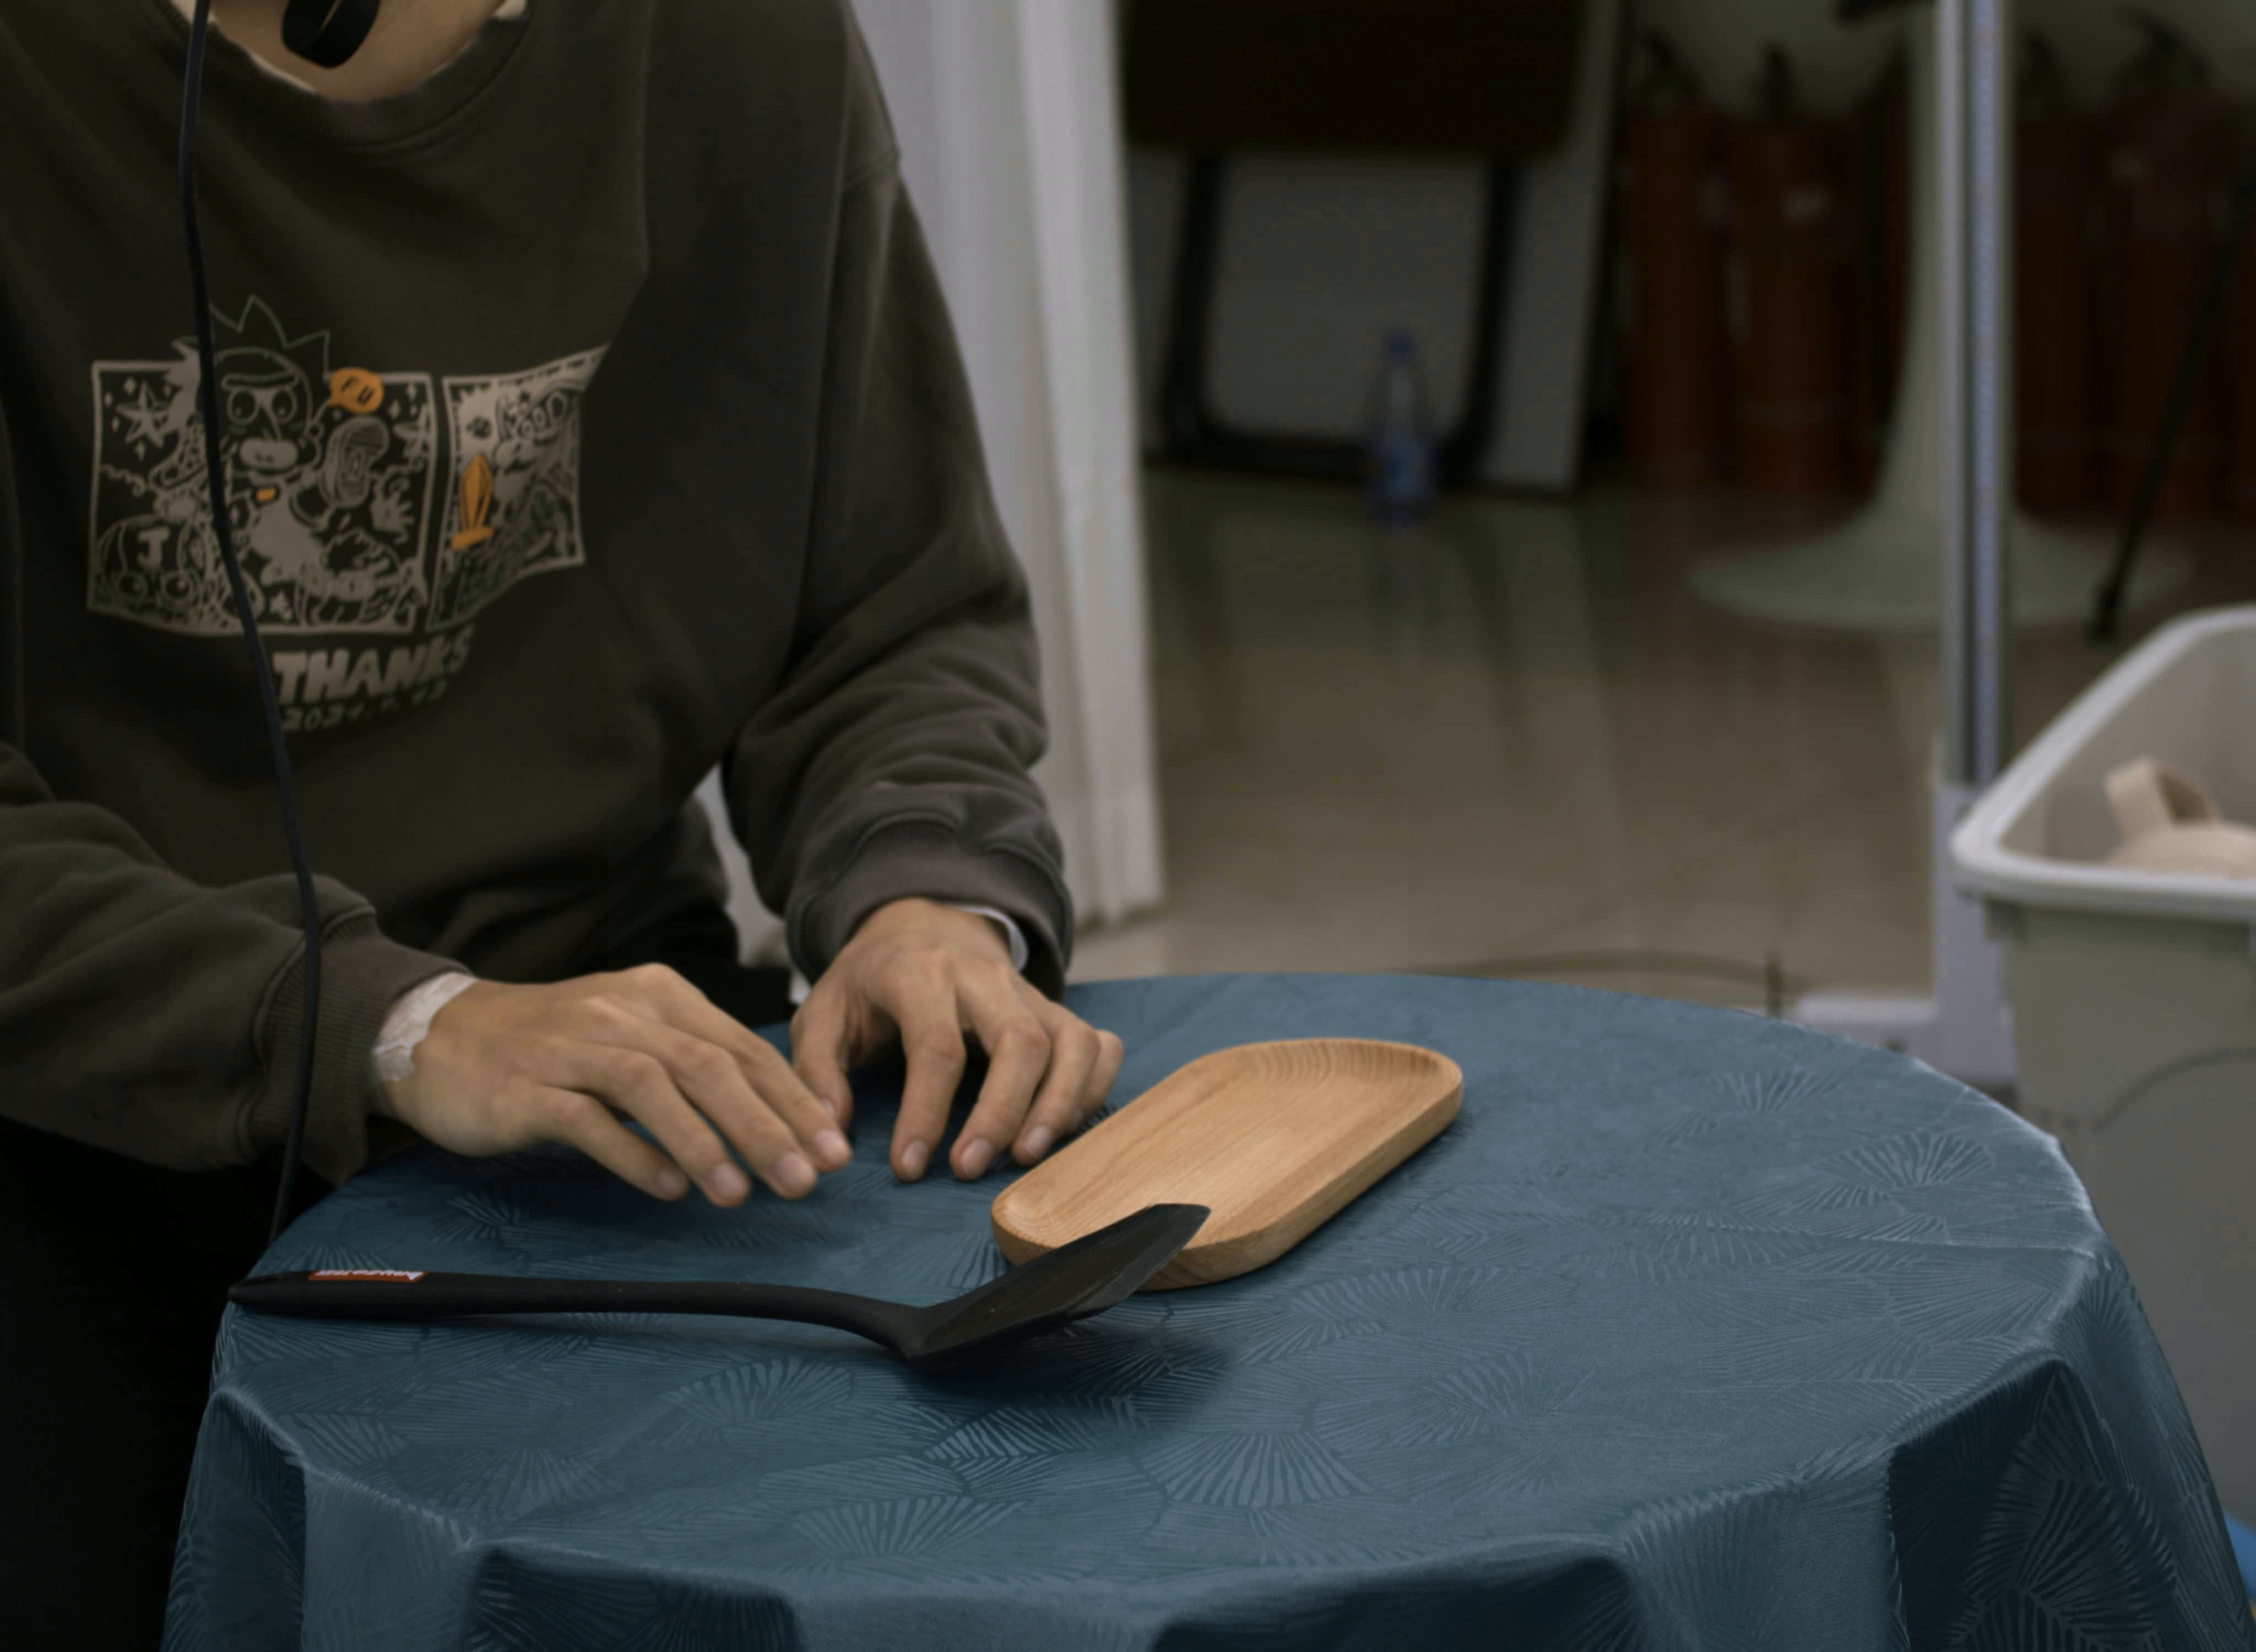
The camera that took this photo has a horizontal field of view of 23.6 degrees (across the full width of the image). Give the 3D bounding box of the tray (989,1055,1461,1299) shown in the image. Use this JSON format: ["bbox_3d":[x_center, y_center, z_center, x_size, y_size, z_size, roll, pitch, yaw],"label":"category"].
[{"bbox_3d":[0.035,0.113,1.768,0.102,0.020,0.228,2,16,27],"label":"tray"}]

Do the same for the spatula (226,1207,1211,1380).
[{"bbox_3d":[-0.134,0.142,1.657,0.326,0.041,0.098,1,13,22],"label":"spatula"}]
